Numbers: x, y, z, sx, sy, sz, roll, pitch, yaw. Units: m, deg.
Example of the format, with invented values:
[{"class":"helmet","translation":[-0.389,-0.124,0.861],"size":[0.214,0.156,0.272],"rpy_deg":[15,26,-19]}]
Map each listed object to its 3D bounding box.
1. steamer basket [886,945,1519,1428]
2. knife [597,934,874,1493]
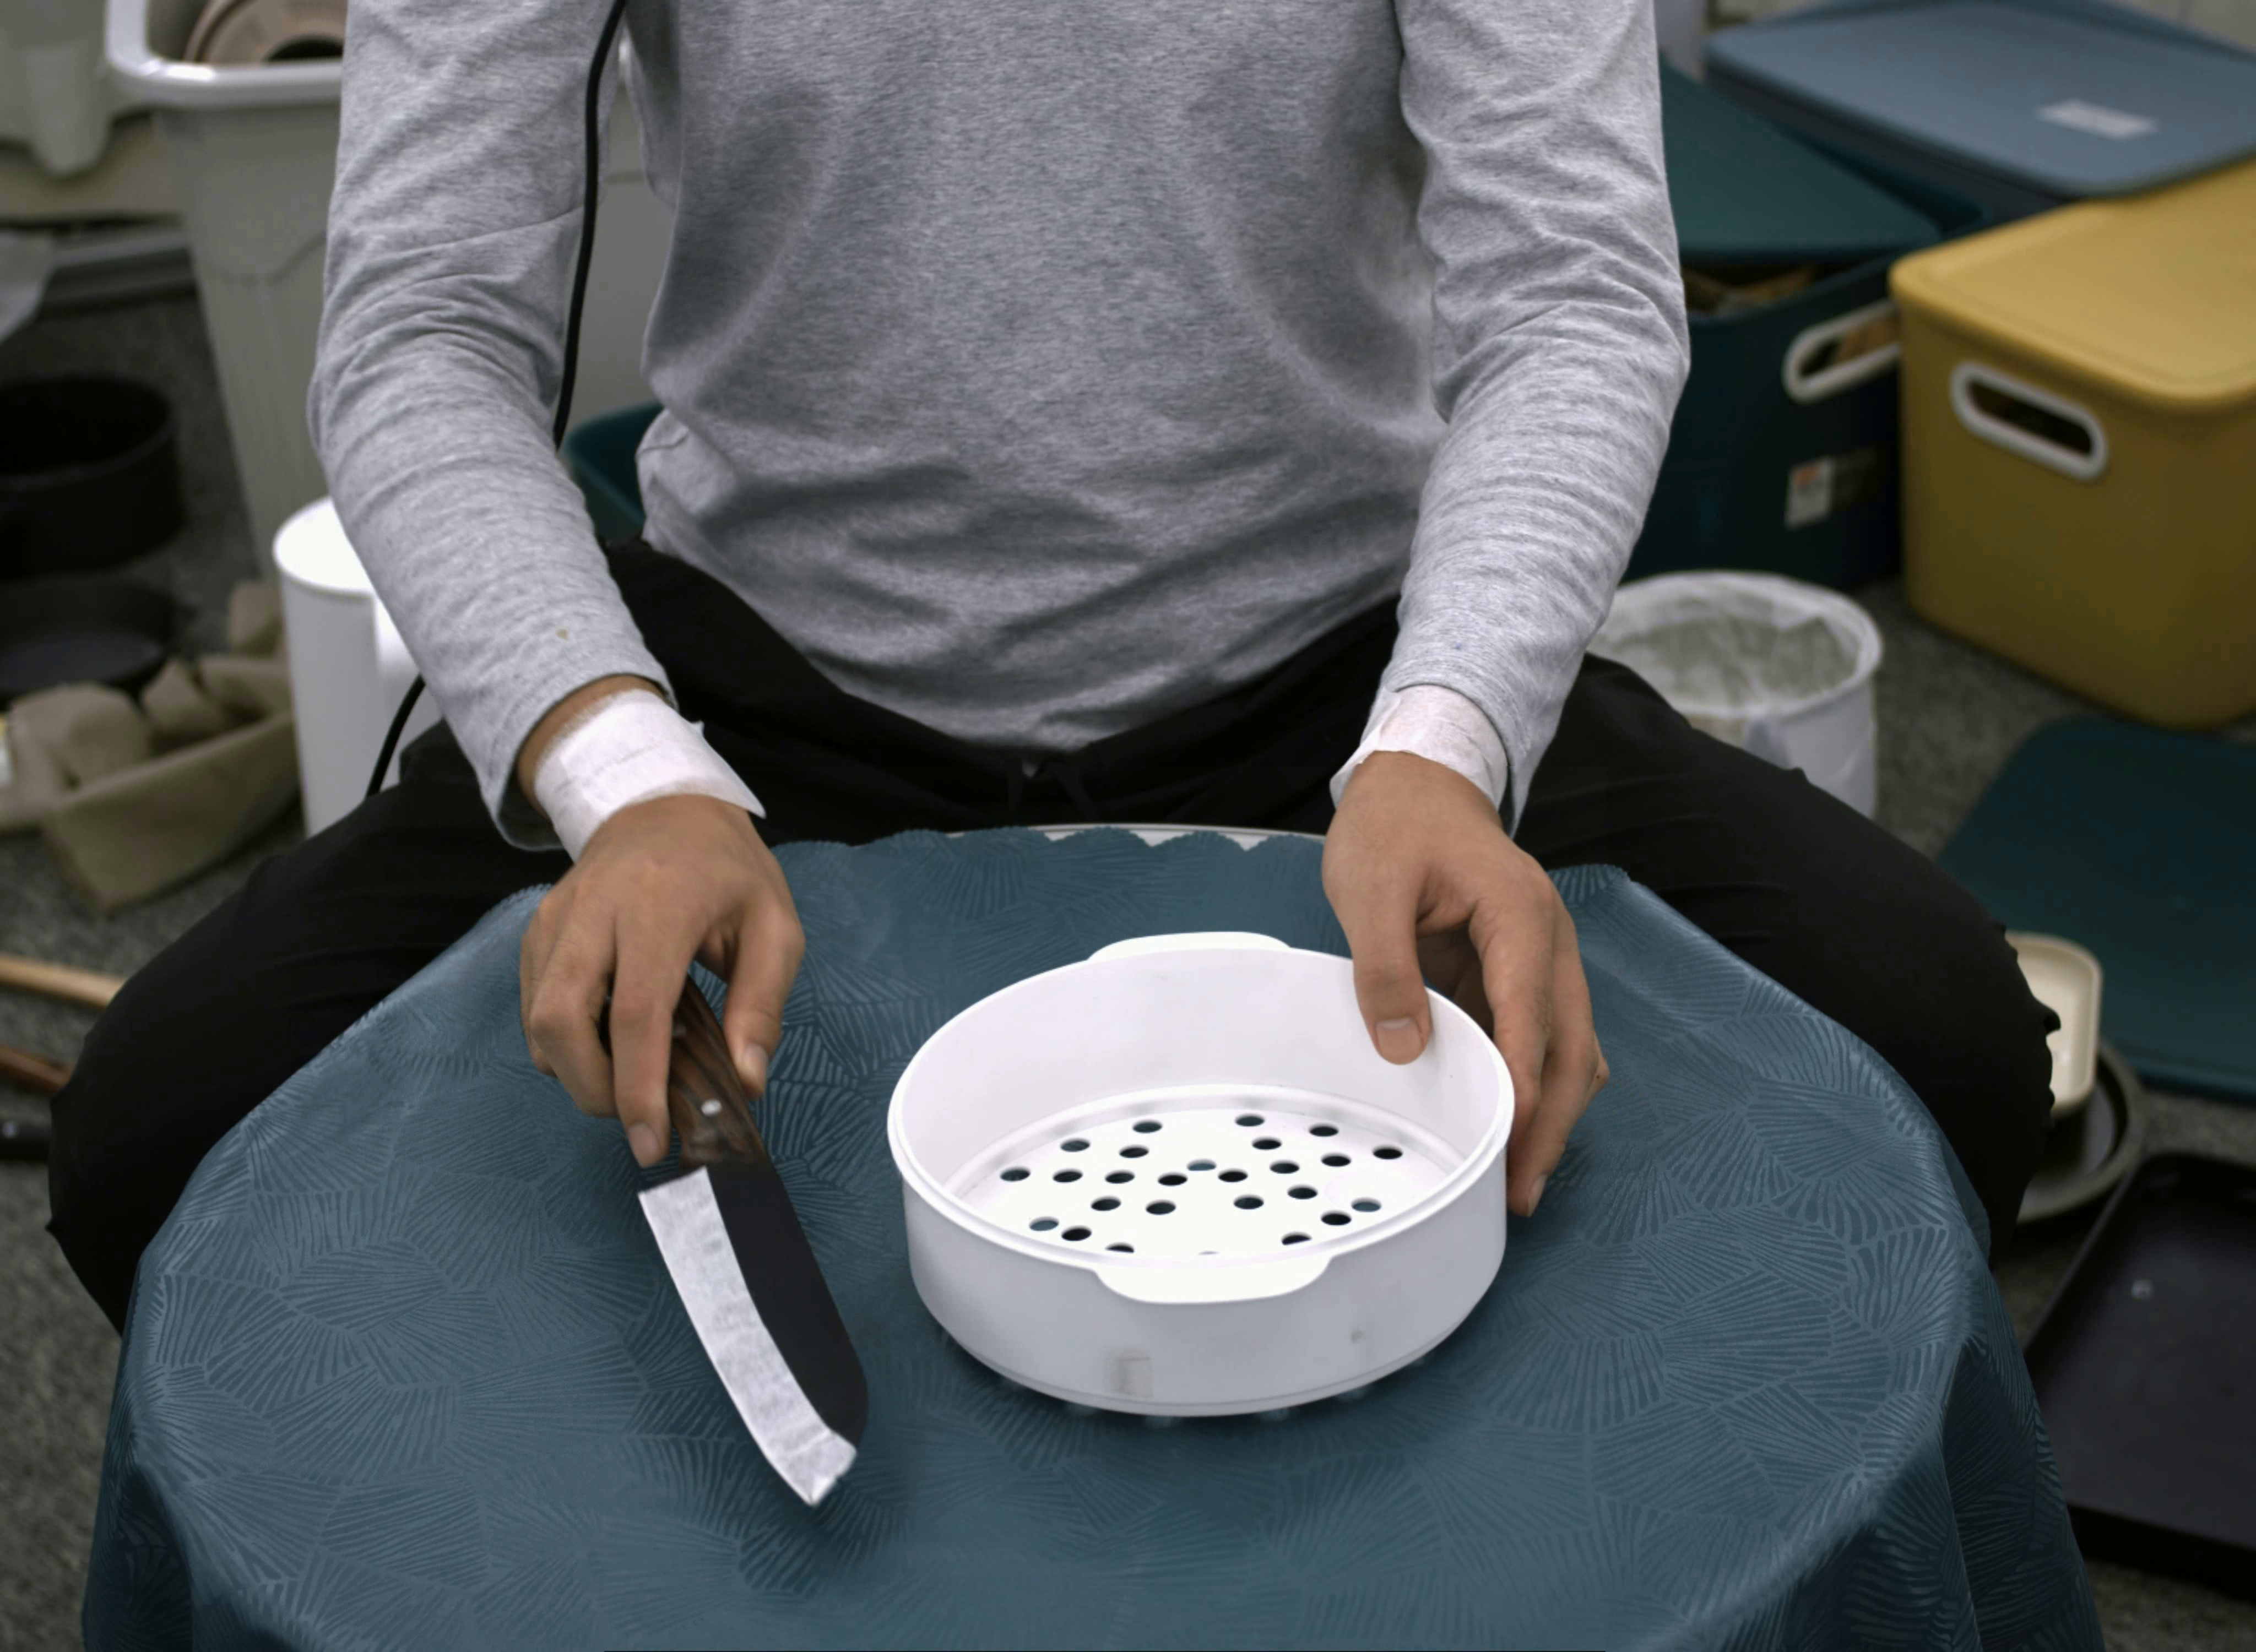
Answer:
[{"class":"steamer basket","translation":[0.024,0.117,1.797],"size":[0.201,0.068,0.234],"rpy_deg":[-2,26,-1]},{"class":"knife","translation":[-0.128,0.120,1.779],"size":[0.050,0.020,0.293],"rpy_deg":[-20,36,-5]}]
